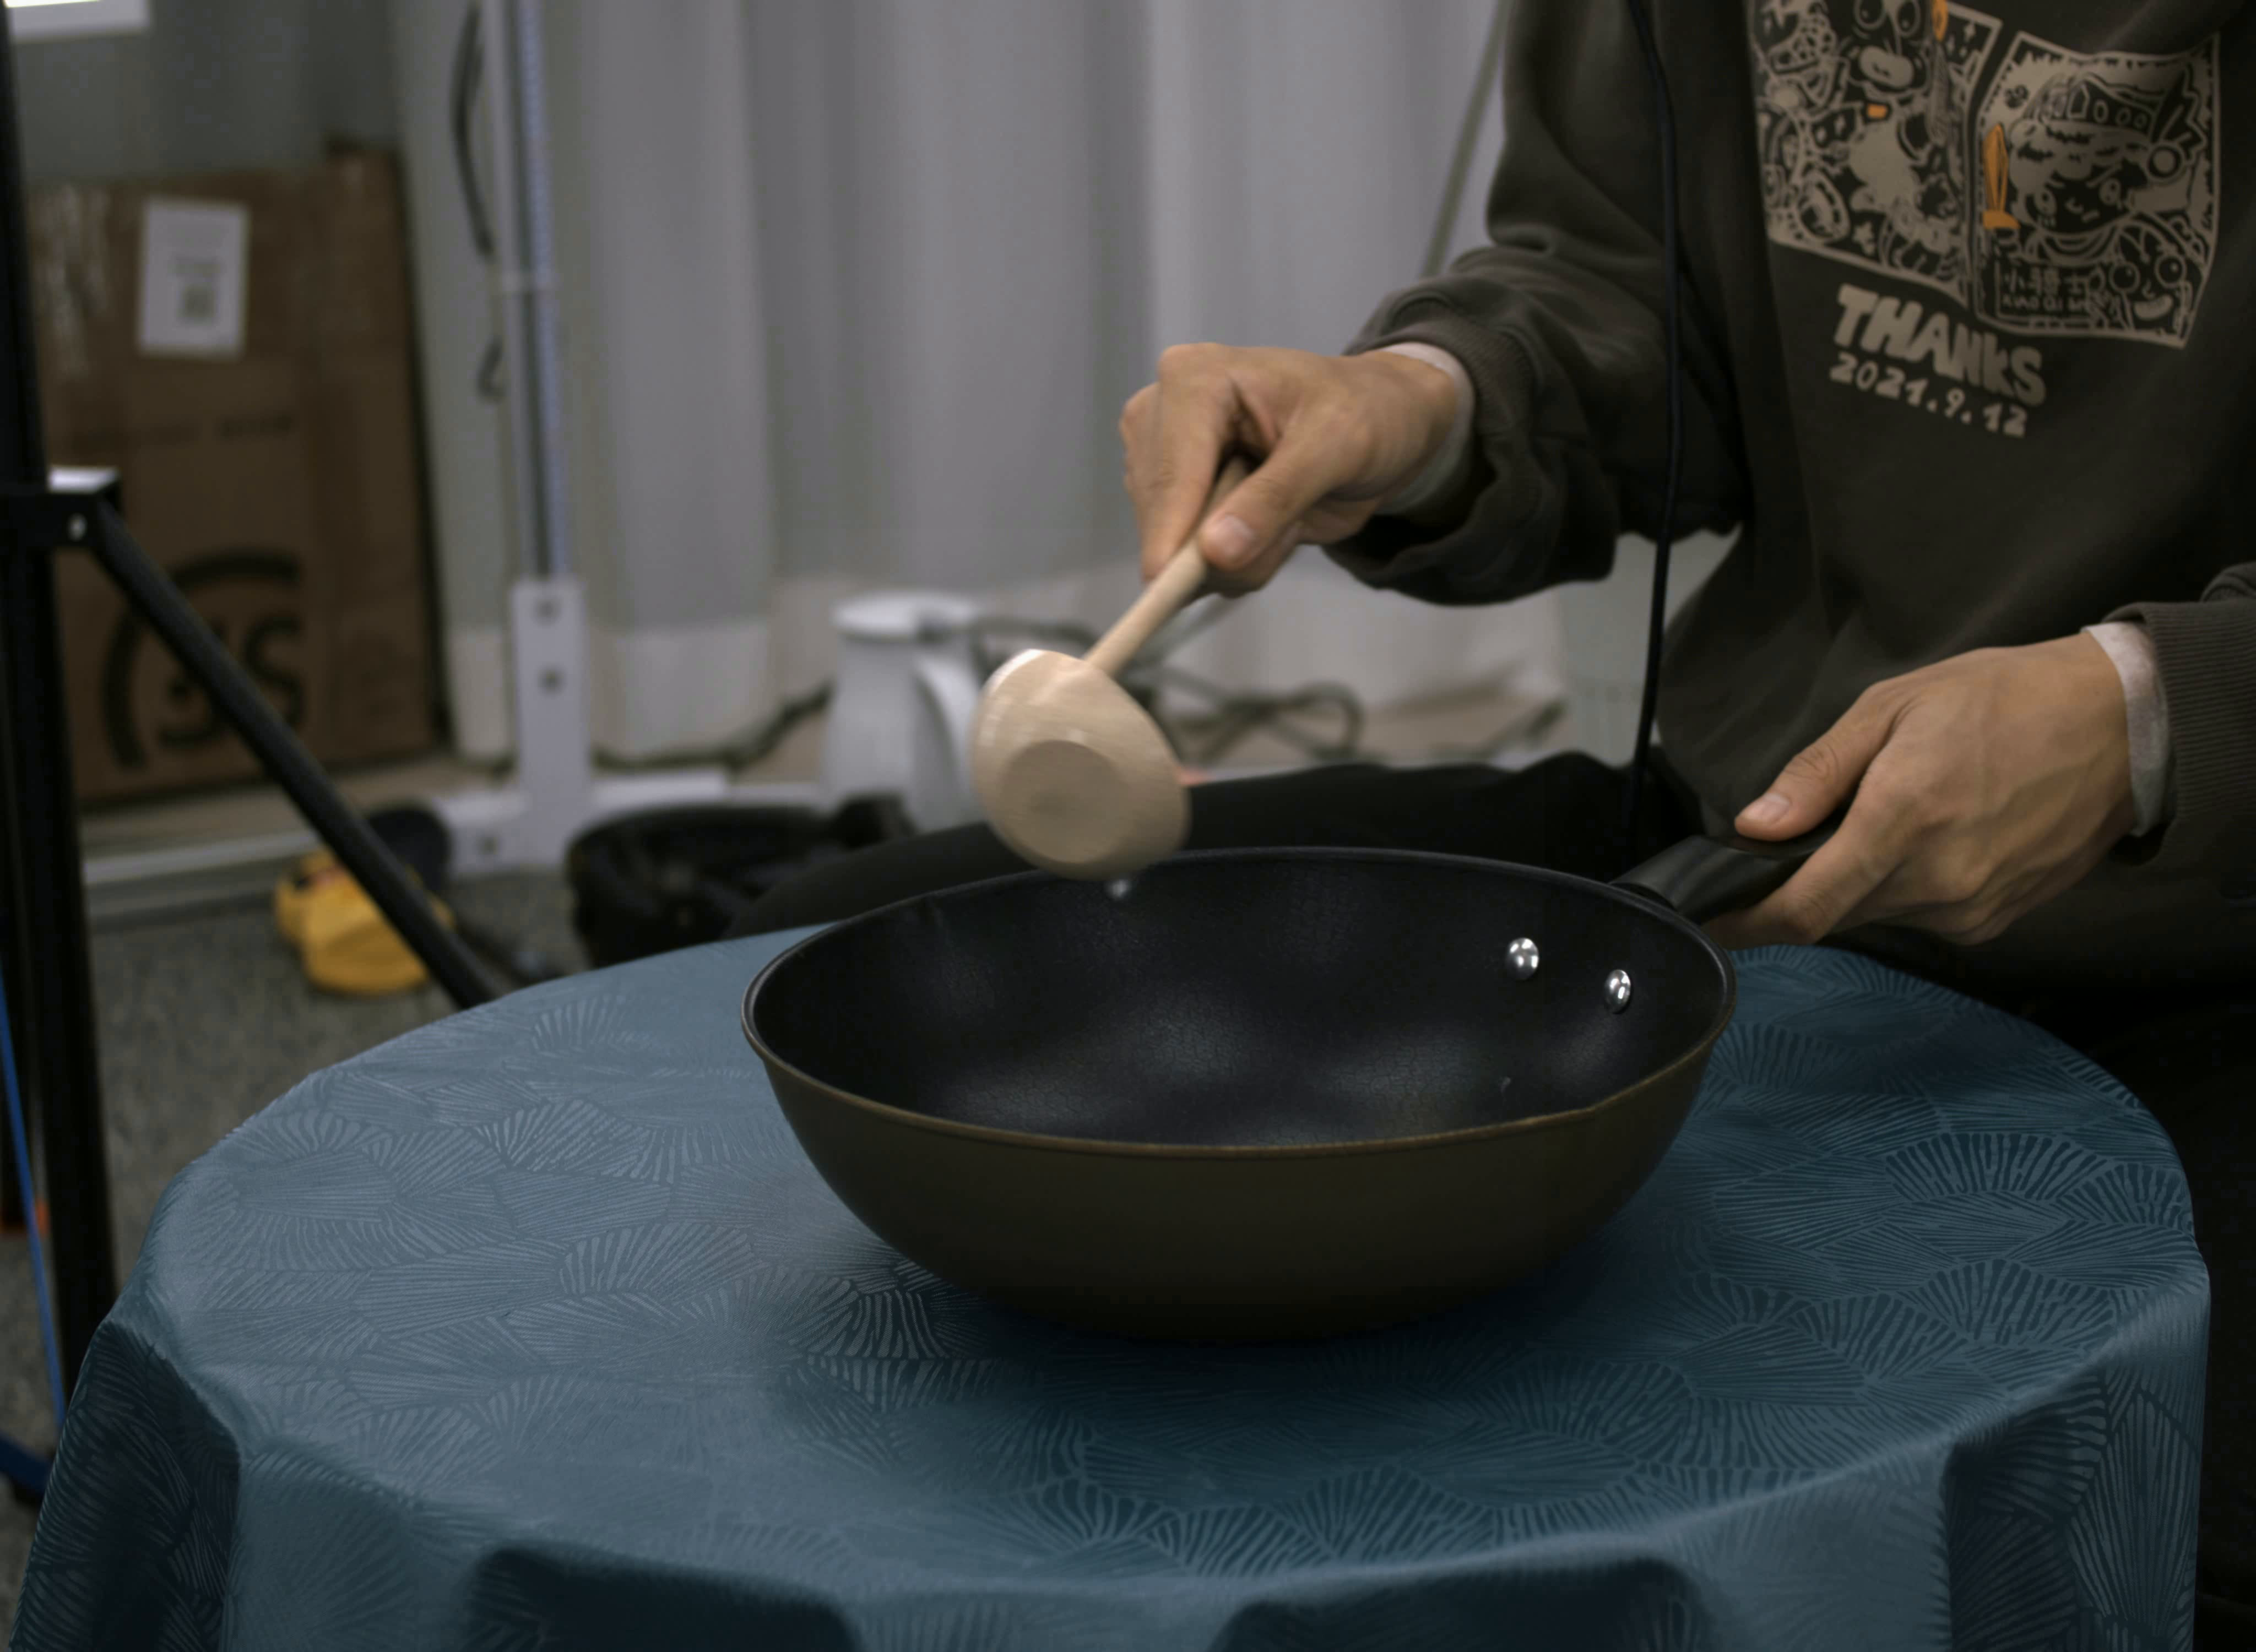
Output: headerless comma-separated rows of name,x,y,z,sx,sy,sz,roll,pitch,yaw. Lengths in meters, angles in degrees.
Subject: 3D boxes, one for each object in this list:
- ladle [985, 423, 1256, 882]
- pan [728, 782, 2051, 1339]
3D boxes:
ladle,0.024,-0.071,1.606,0.074,0.071,0.253,-25,21,33
pan,0.099,0.063,1.552,0.452,0.087,0.295,-13,18,-35
